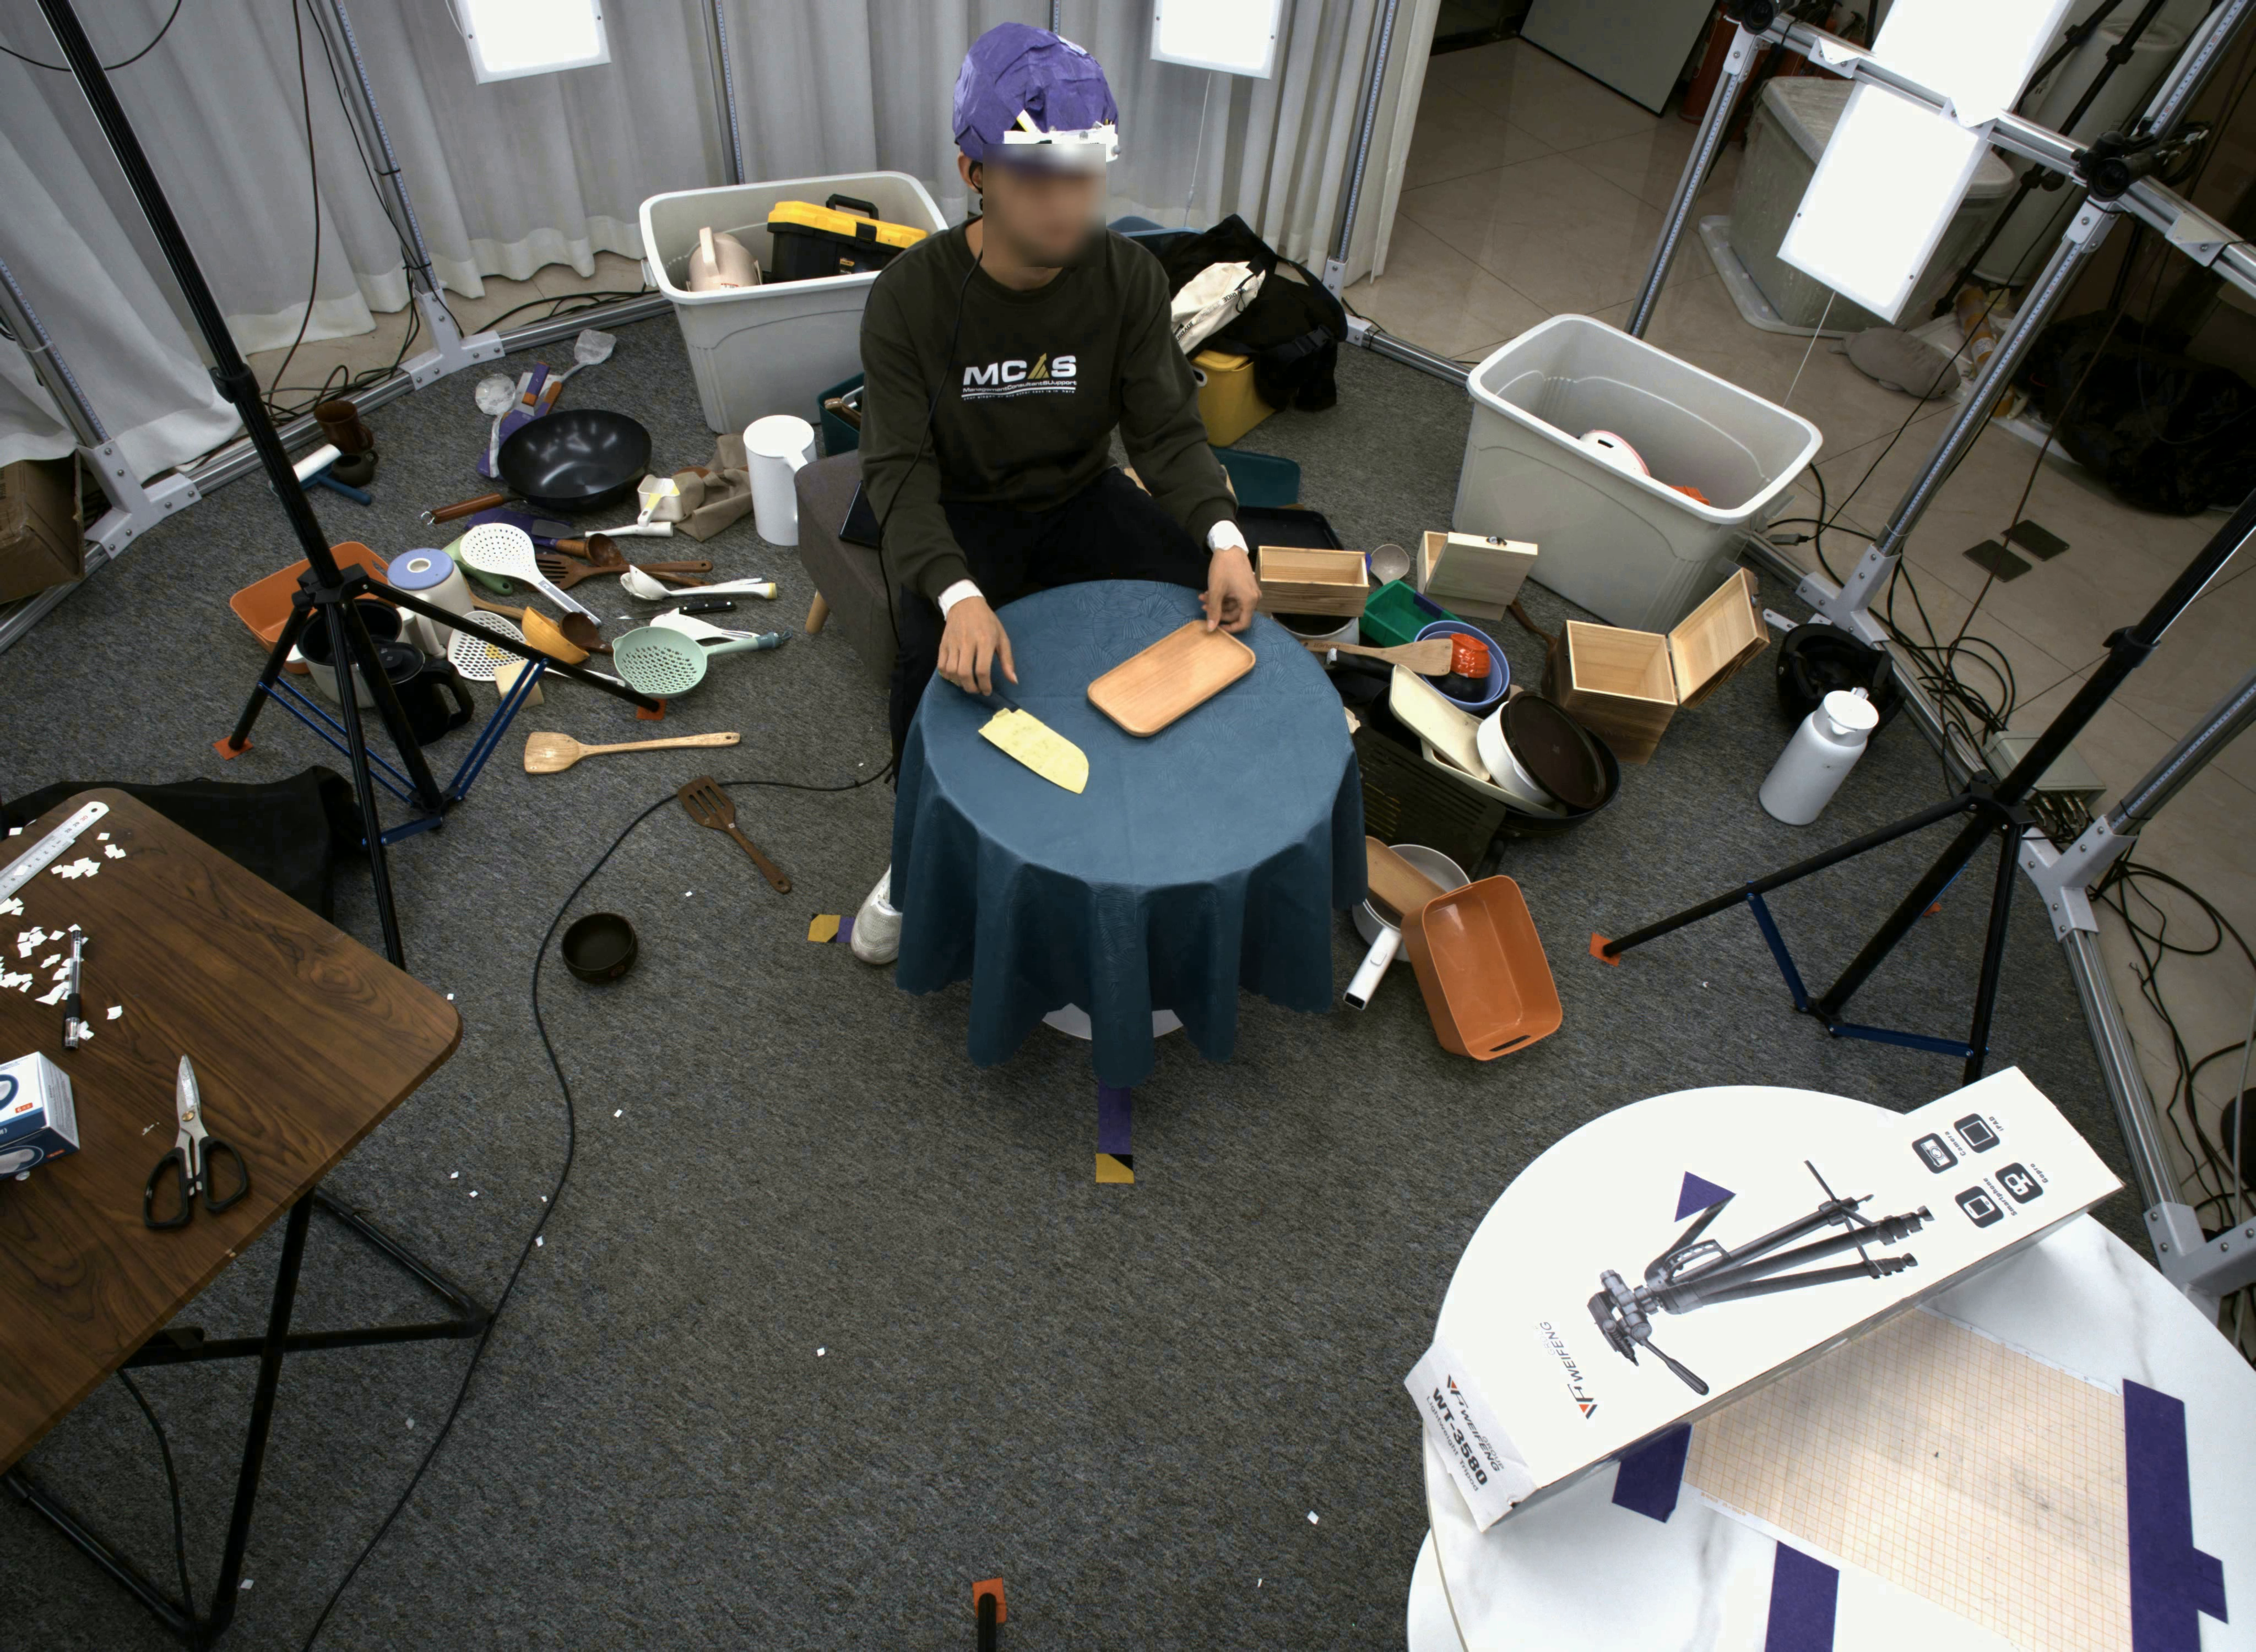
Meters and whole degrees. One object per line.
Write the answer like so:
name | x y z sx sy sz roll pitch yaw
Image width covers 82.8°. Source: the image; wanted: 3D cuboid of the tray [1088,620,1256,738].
tray | 0.065 -0.214 1.847 0.253 0.022 0.132 -35 57 -28

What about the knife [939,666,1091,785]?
knife | -0.163 -0.137 1.766 0.293 0.026 0.082 36 55 23
